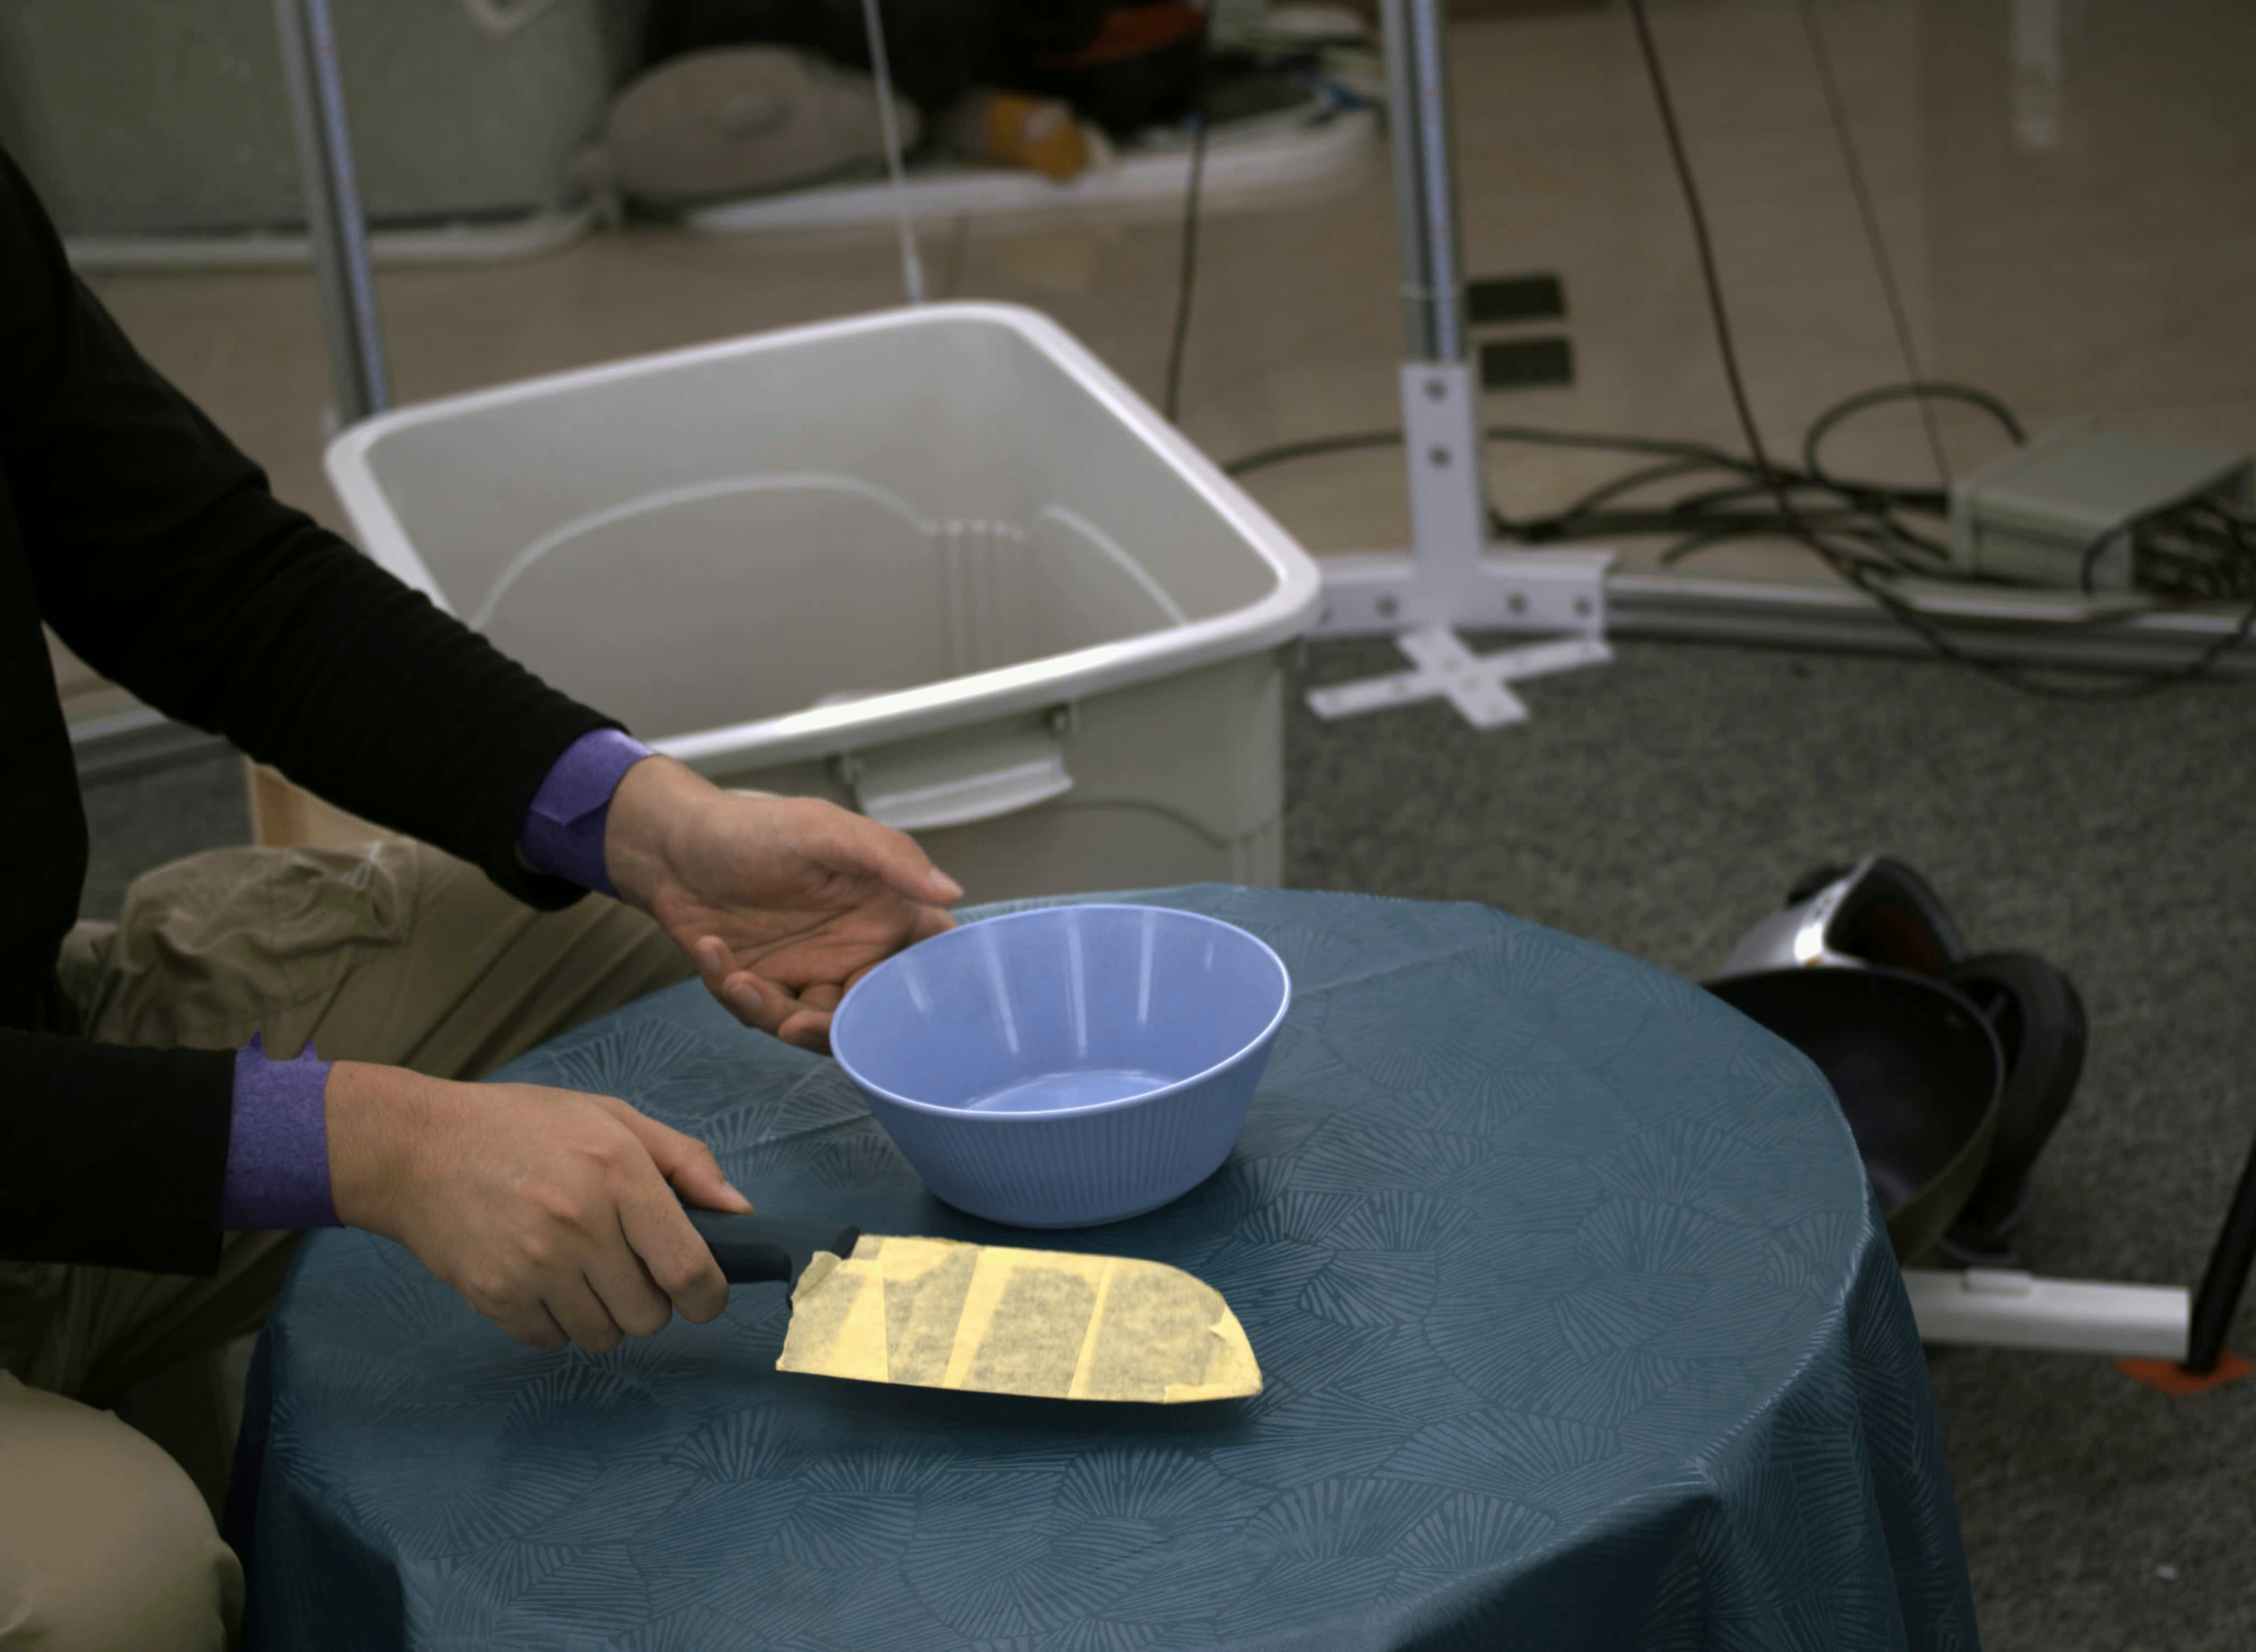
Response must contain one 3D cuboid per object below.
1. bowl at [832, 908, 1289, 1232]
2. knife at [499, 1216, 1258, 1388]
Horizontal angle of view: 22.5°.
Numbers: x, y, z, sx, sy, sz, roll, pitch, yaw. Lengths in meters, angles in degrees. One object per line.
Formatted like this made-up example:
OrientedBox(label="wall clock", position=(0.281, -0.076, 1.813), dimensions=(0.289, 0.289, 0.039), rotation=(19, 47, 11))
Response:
OrientedBox(label="bowl", position=(-0.023, 0.099, 2.160), dimensions=(0.176, 0.071, 0.173), rotation=(-5, 26, 3))
OrientedBox(label="knife", position=(-0.093, 0.171, 2.025), dimensions=(0.289, 0.028, 0.079), rotation=(5, 38, 15))
